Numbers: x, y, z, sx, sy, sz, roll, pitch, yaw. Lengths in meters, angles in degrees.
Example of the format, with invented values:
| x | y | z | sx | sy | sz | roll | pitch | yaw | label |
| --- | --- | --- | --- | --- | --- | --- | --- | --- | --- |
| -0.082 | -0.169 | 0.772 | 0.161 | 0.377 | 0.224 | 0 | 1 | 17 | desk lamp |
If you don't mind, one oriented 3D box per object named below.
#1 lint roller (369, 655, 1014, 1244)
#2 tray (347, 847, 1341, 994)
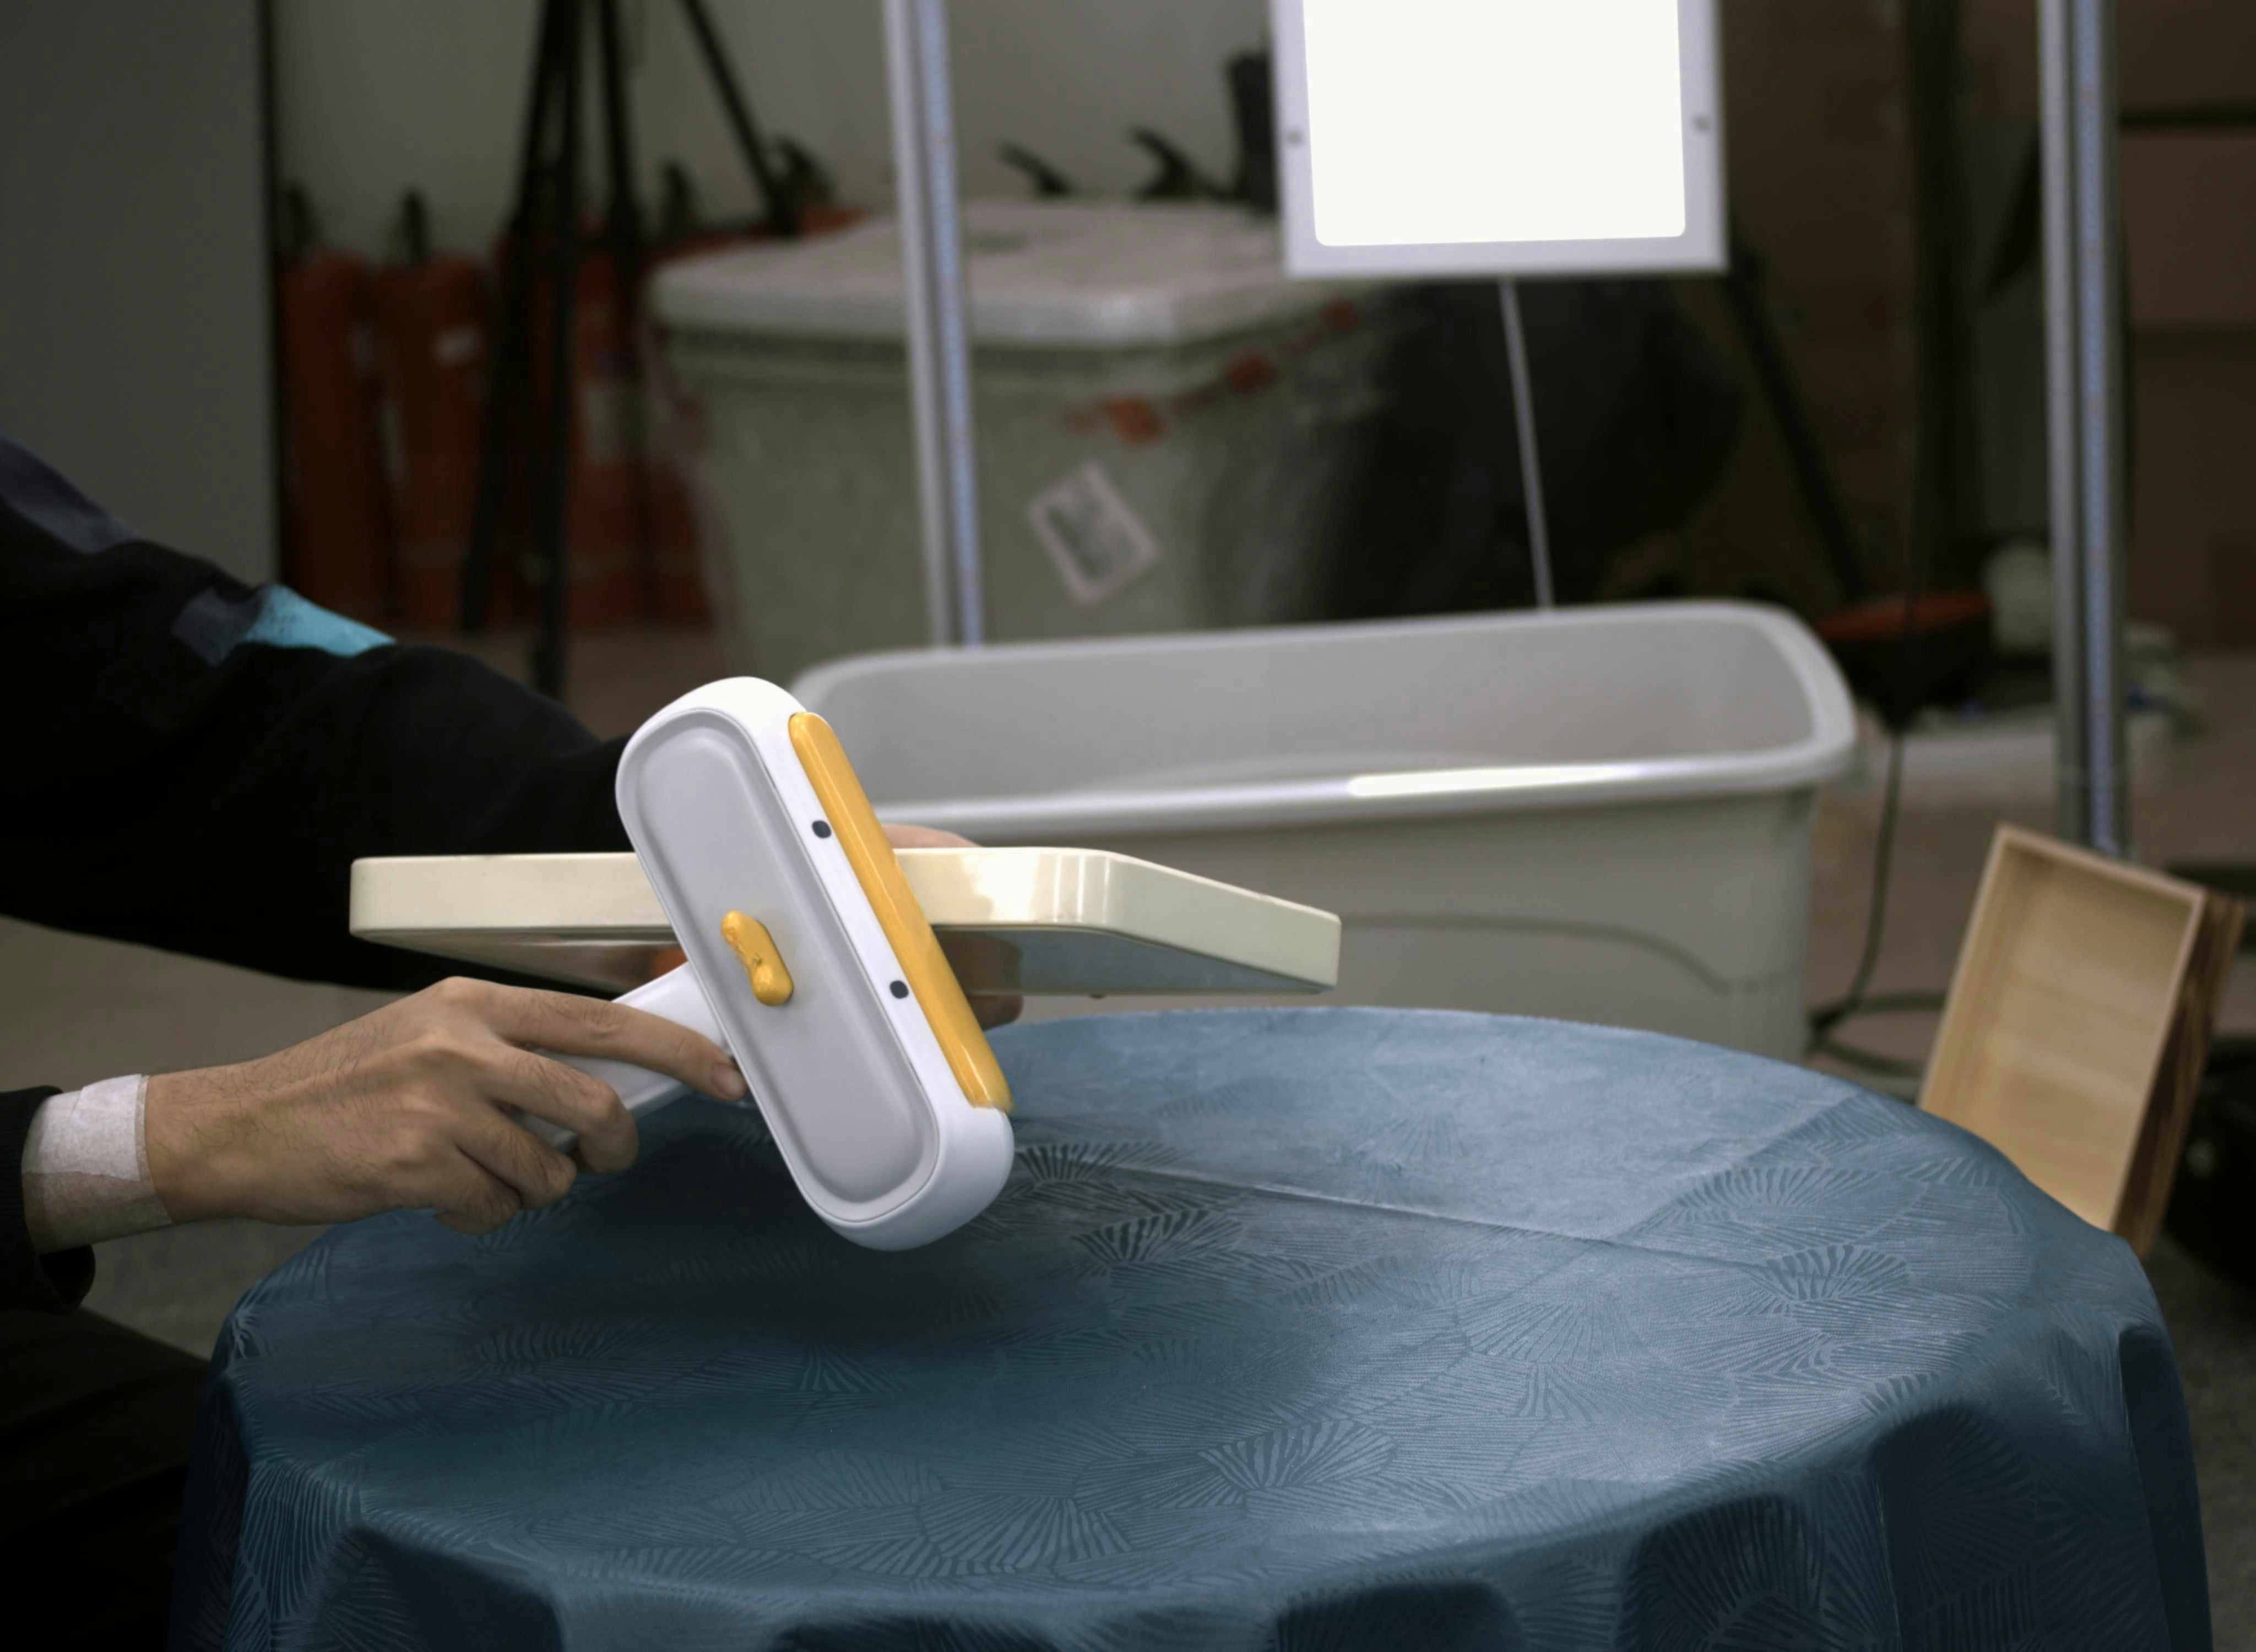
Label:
| x | y | z | sx | sy | sz | roll | pitch | yaw | label |
| --- | --- | --- | --- | --- | --- | --- | --- | --- | --- |
| -0.153 | 0.068 | 1.753 | 0.194 | 0.193 | 0.073 | -34 | -9 | 13 | lint roller |
| -0.097 | 0.035 | 1.878 | 0.306 | 0.027 | 0.187 | -1 | -8 | 31 | tray |
